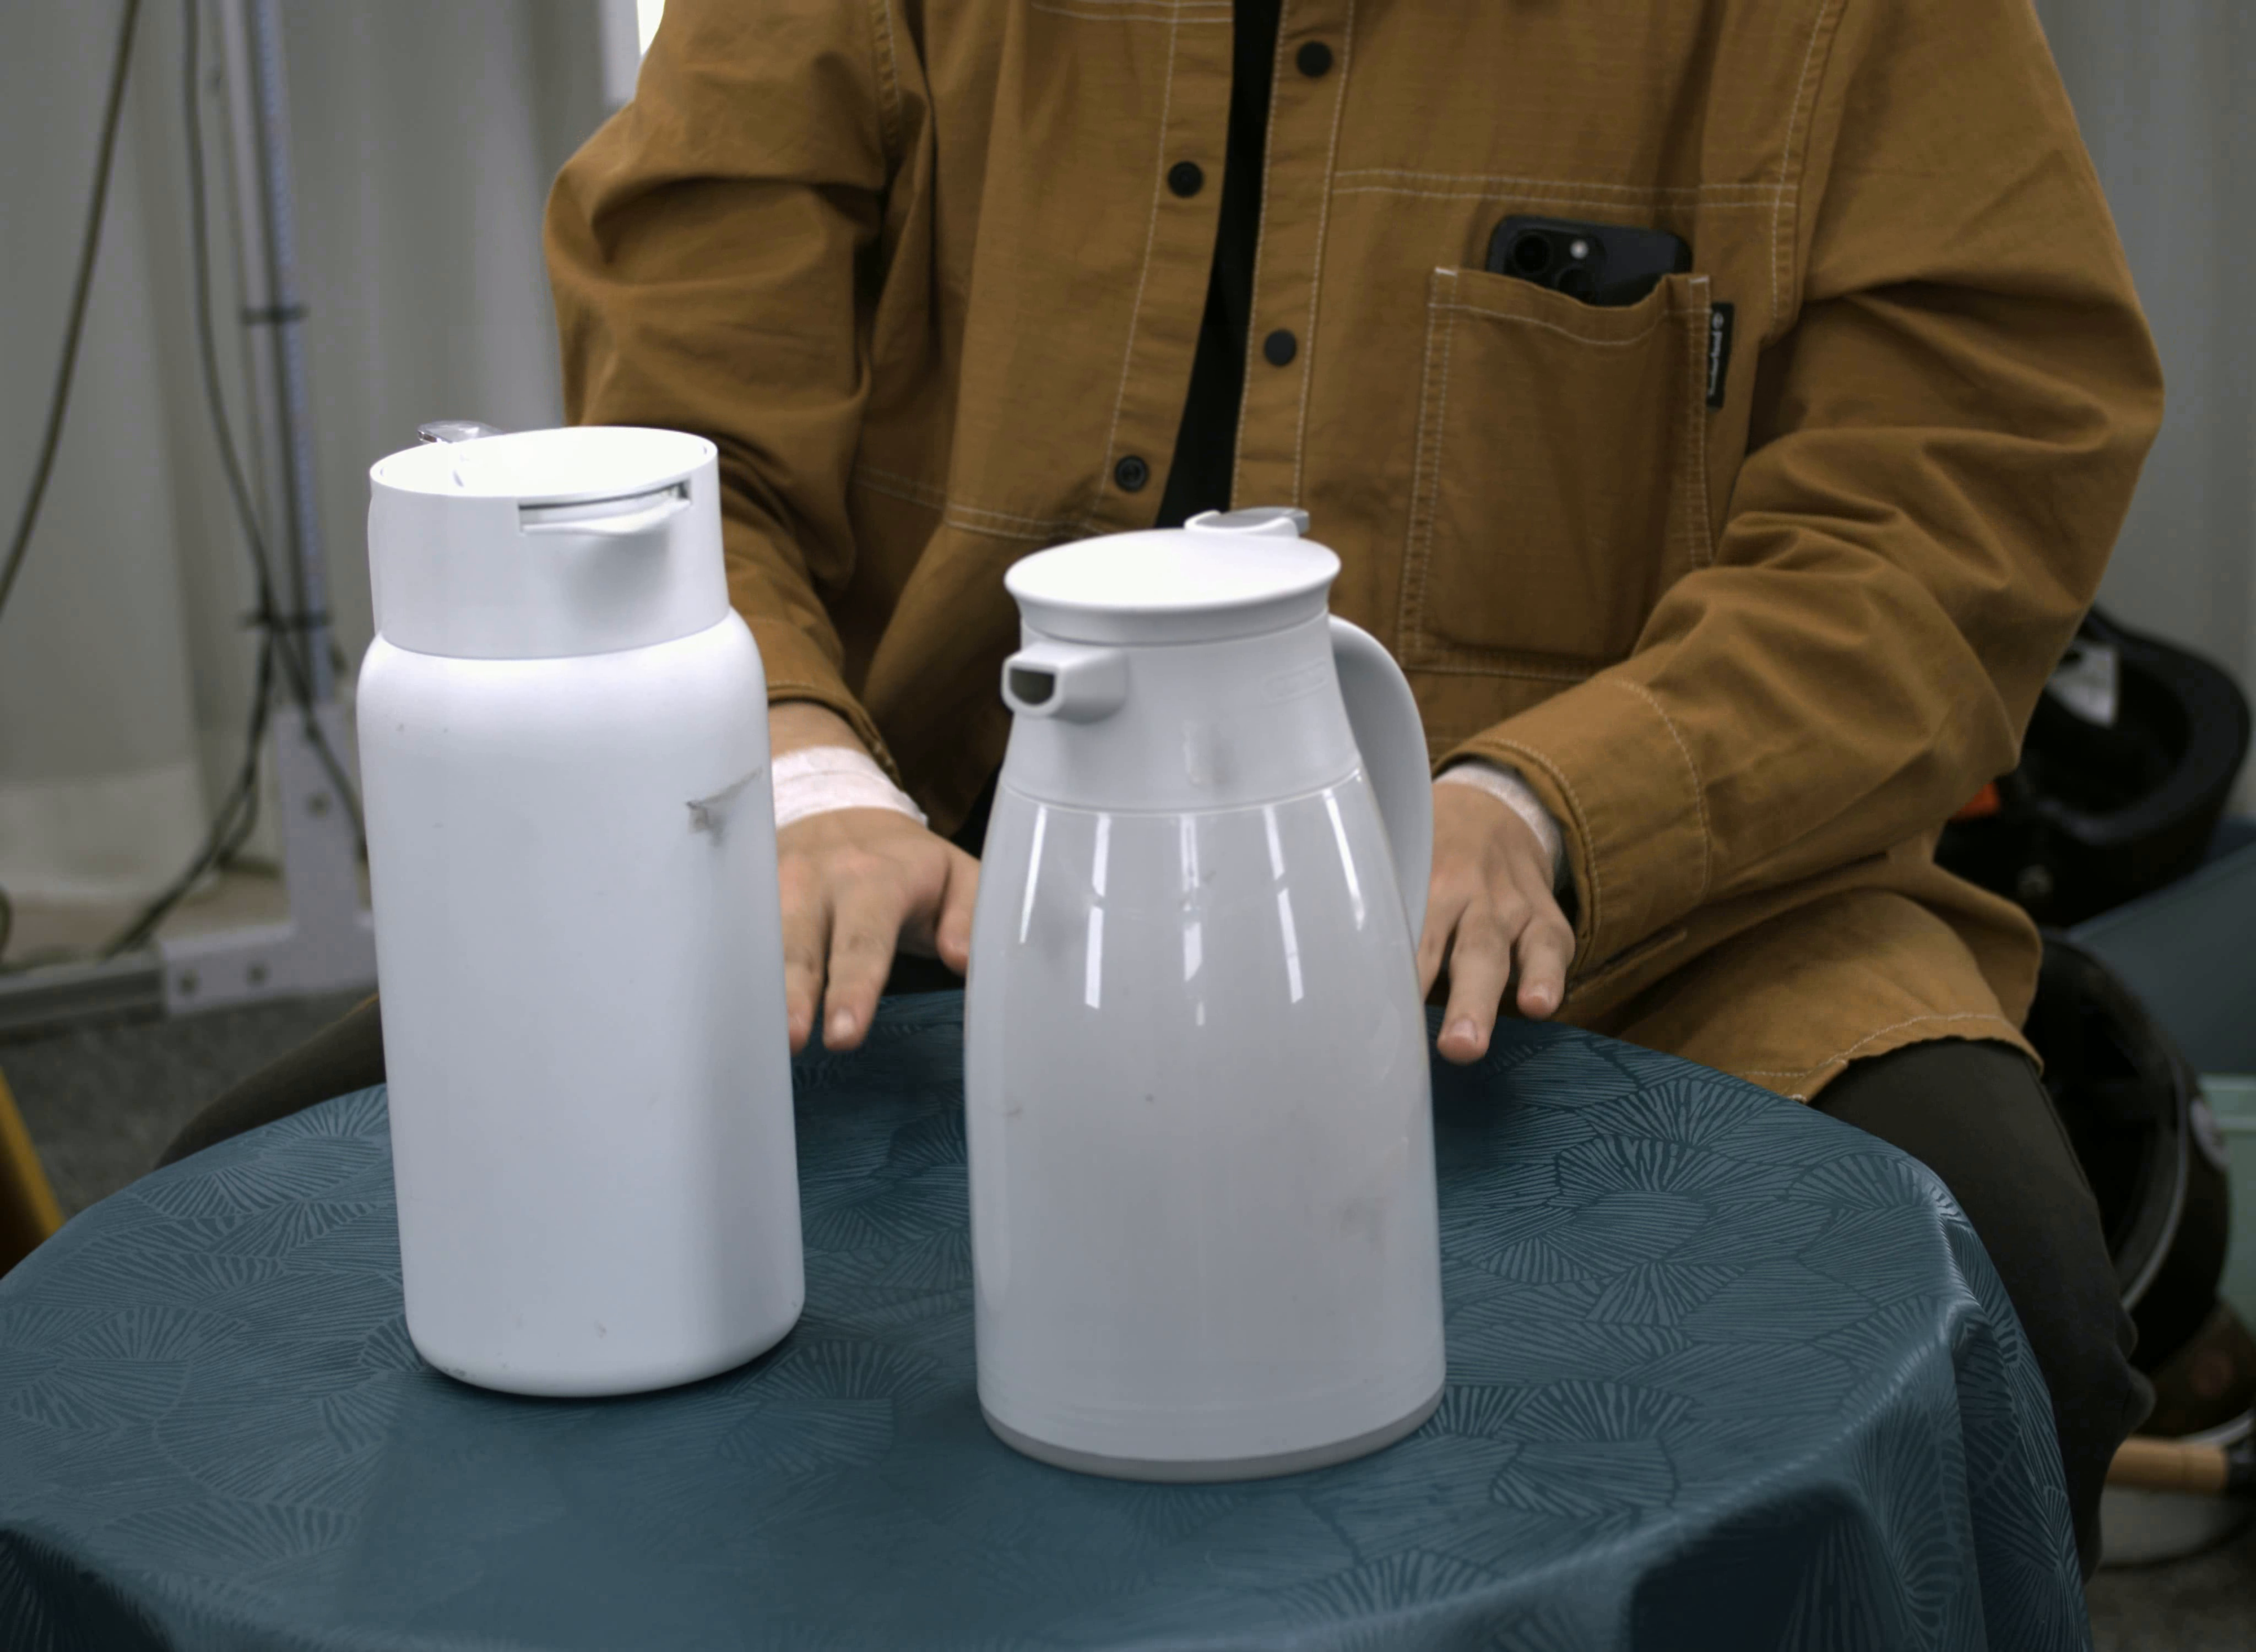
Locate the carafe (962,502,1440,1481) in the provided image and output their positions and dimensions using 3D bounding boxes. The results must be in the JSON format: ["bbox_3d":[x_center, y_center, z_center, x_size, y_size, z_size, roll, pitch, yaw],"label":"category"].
[{"bbox_3d":[0.028,0.037,1.523,0.133,0.248,0.167,8,16,37],"label":"carafe"}]

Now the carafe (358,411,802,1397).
[{"bbox_3d":[-0.169,0.019,1.590,0.123,0.268,0.174,-13,16,-29],"label":"carafe"}]
